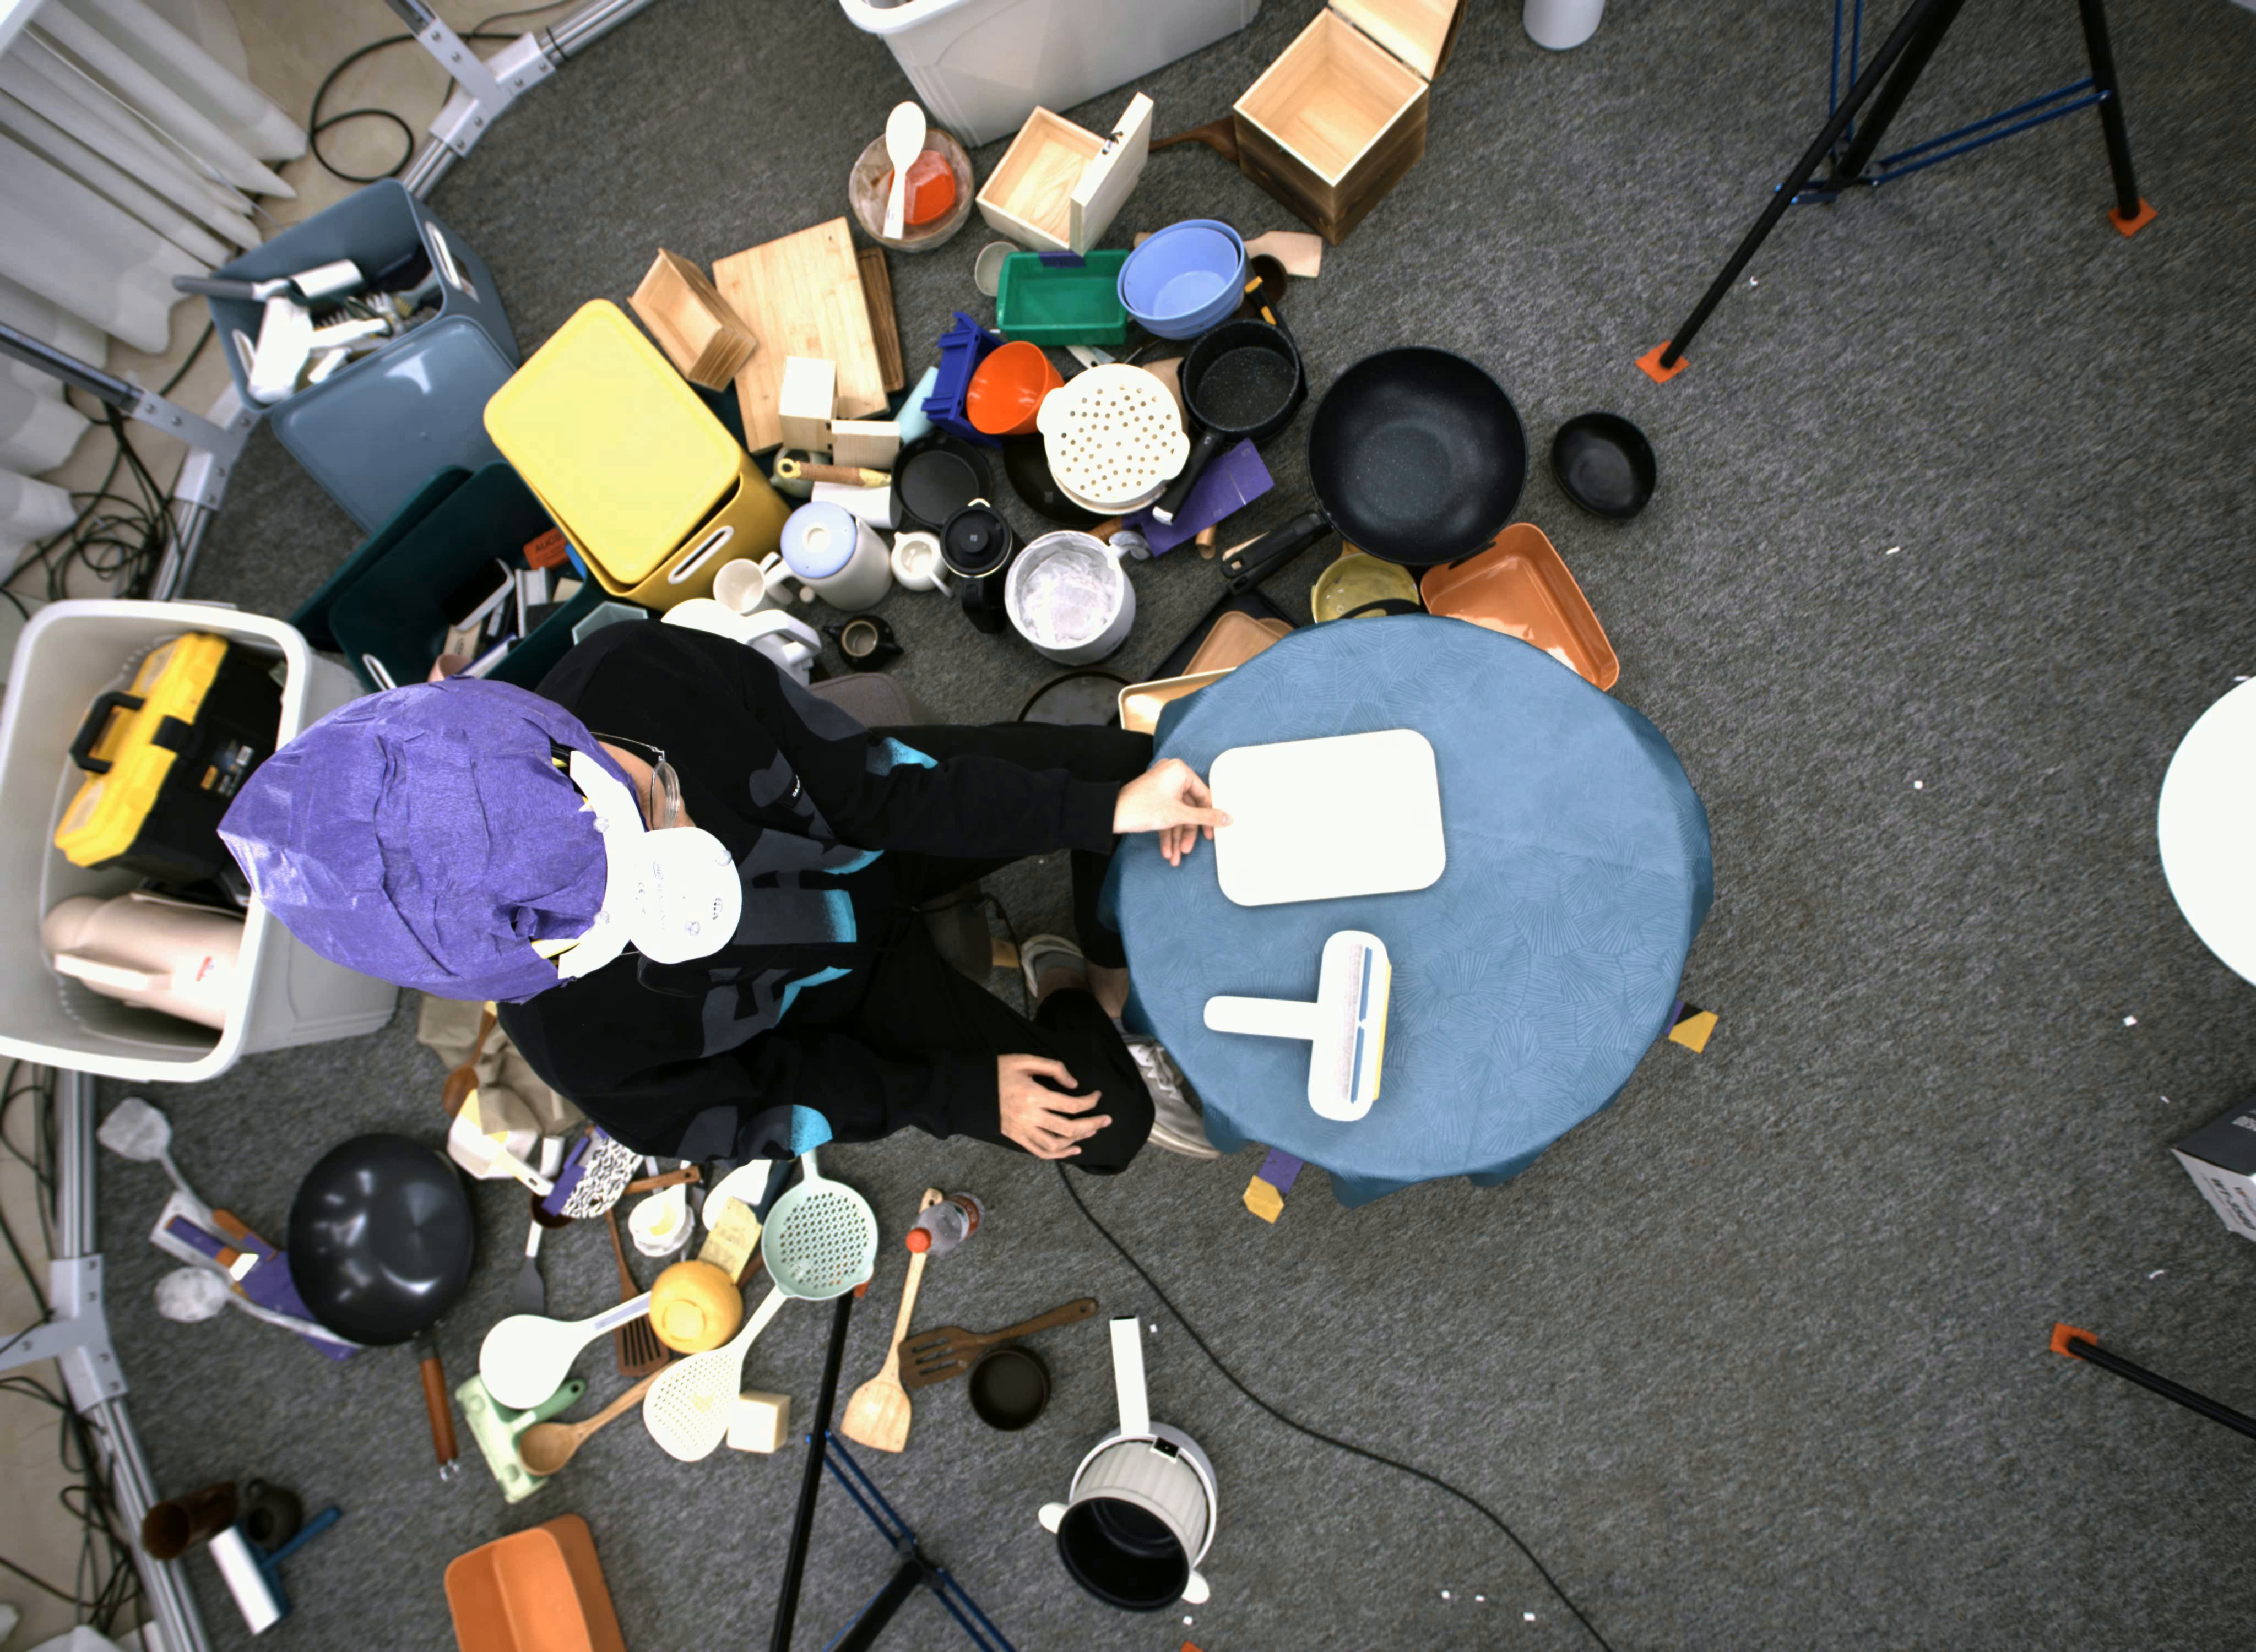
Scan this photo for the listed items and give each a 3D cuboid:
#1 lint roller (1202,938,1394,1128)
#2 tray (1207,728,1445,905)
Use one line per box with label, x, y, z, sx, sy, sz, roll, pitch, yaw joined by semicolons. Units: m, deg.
lint roller;0.168;0.202;1.433;0.193;0.074;0.191;9;83;12
tray;0.208;-0.010;1.462;0.241;0.017;0.170;-6;87;10
